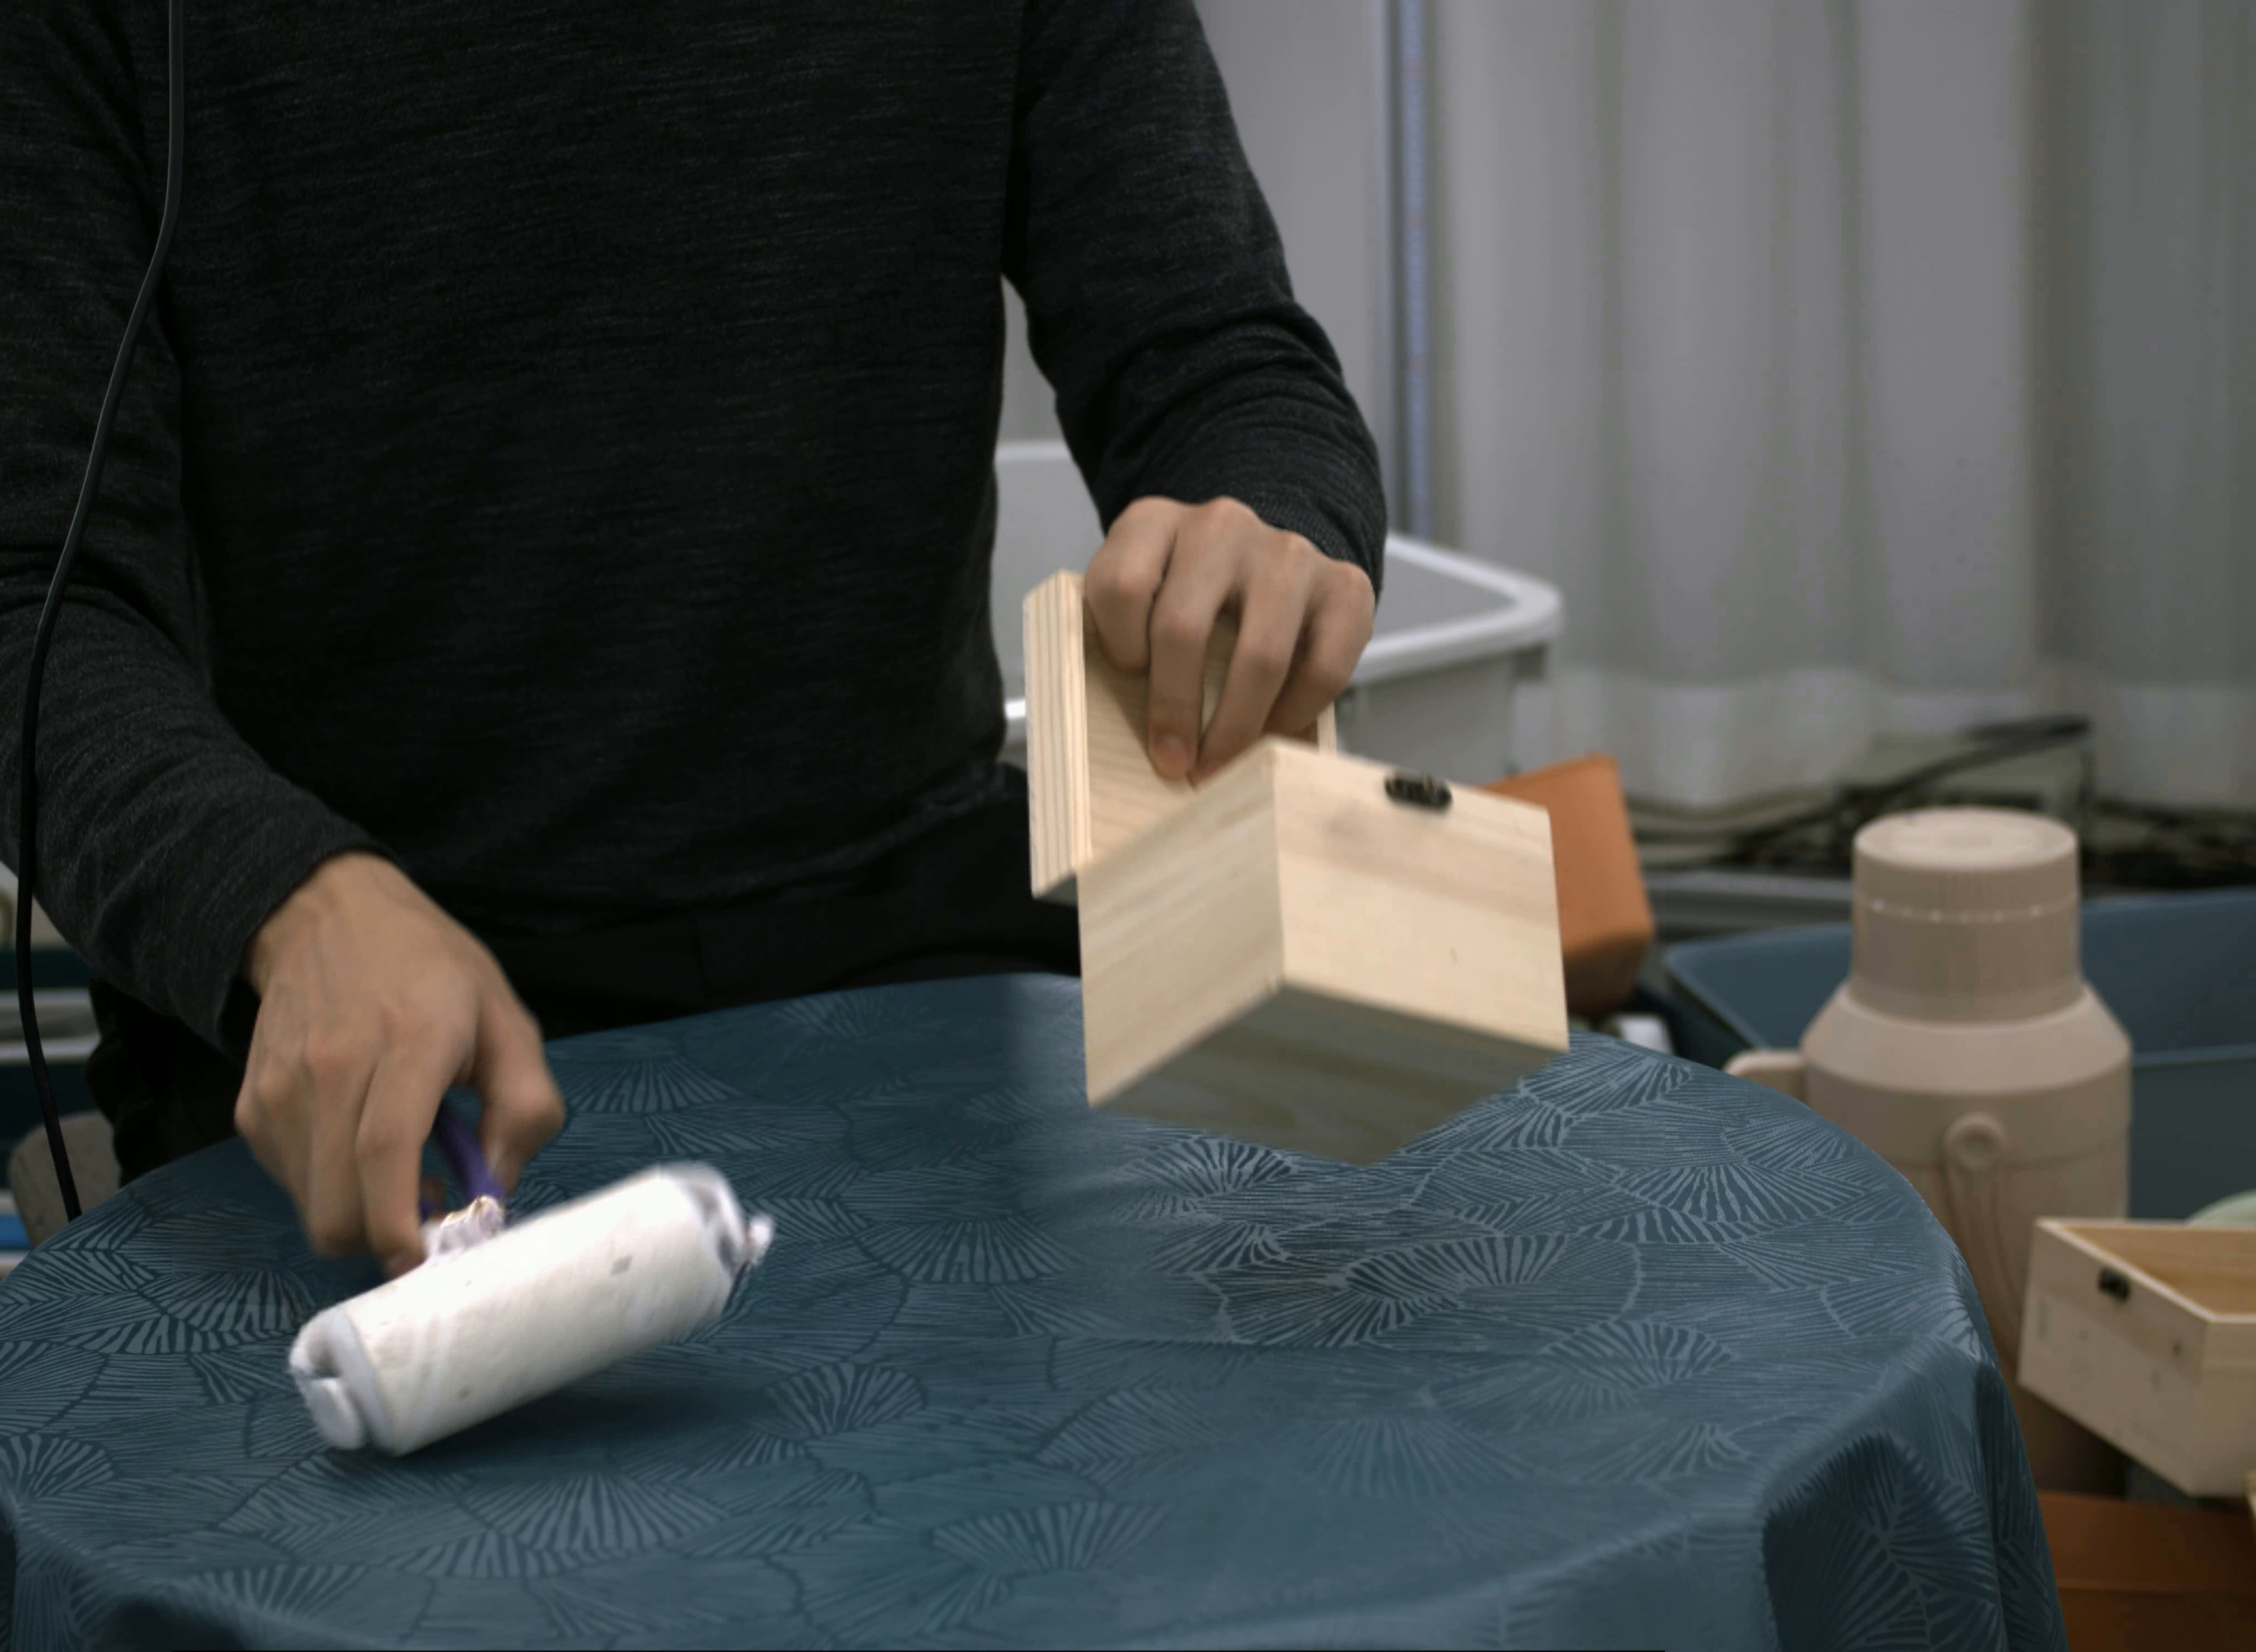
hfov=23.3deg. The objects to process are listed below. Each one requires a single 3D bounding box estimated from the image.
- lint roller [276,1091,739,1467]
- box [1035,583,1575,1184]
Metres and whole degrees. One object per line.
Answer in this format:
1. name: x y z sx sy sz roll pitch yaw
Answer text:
1. lint roller: -0.198 0.111 1.584 0.132 0.049 0.183 -17 35 -17
2. box: 0.051 0.000 1.625 0.101 0.187 0.133 14 -31 -31
